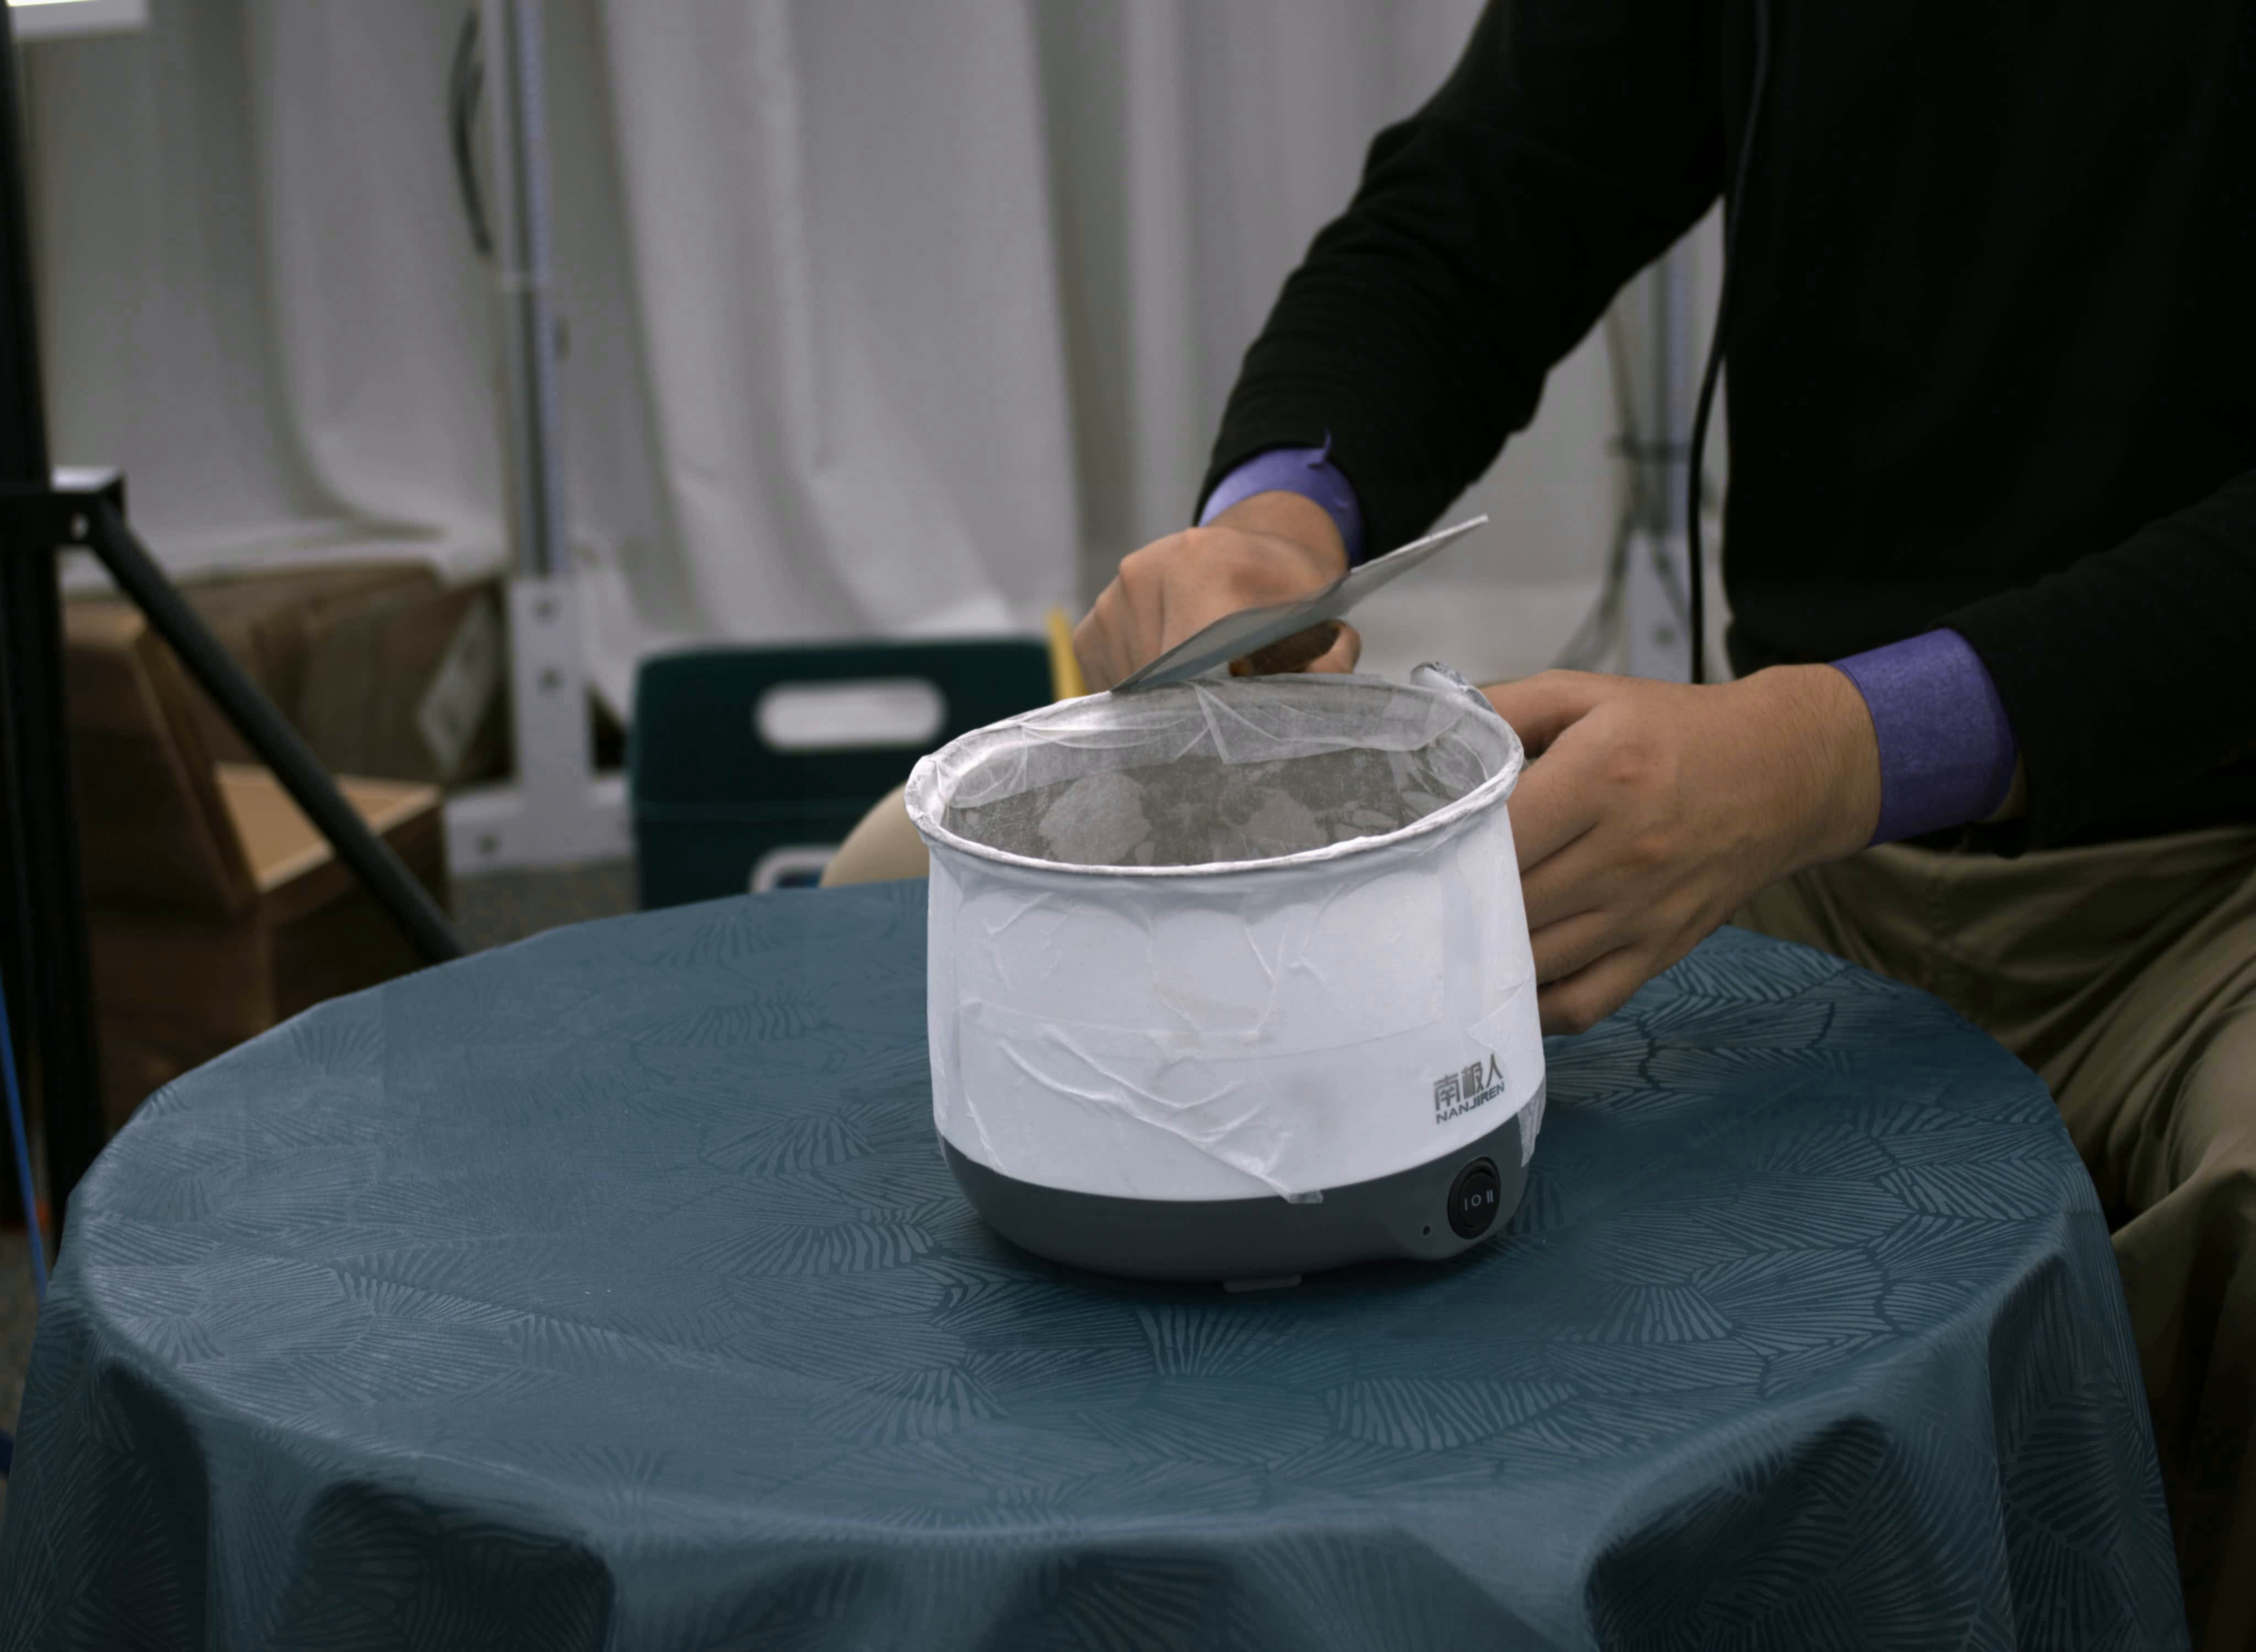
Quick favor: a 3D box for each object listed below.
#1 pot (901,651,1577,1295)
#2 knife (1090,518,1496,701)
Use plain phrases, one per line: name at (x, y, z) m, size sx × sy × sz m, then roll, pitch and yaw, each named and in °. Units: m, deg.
pot at (0.047, 0.034, 1.535) m, size 0.183 × 0.136 × 0.229 m, roll 12°, pitch 25°, yaw 40°
knife at (0.032, -0.052, 1.625) m, size 0.092 × 0.021 × 0.308 m, roll -20°, pitch -3°, yaw -14°
